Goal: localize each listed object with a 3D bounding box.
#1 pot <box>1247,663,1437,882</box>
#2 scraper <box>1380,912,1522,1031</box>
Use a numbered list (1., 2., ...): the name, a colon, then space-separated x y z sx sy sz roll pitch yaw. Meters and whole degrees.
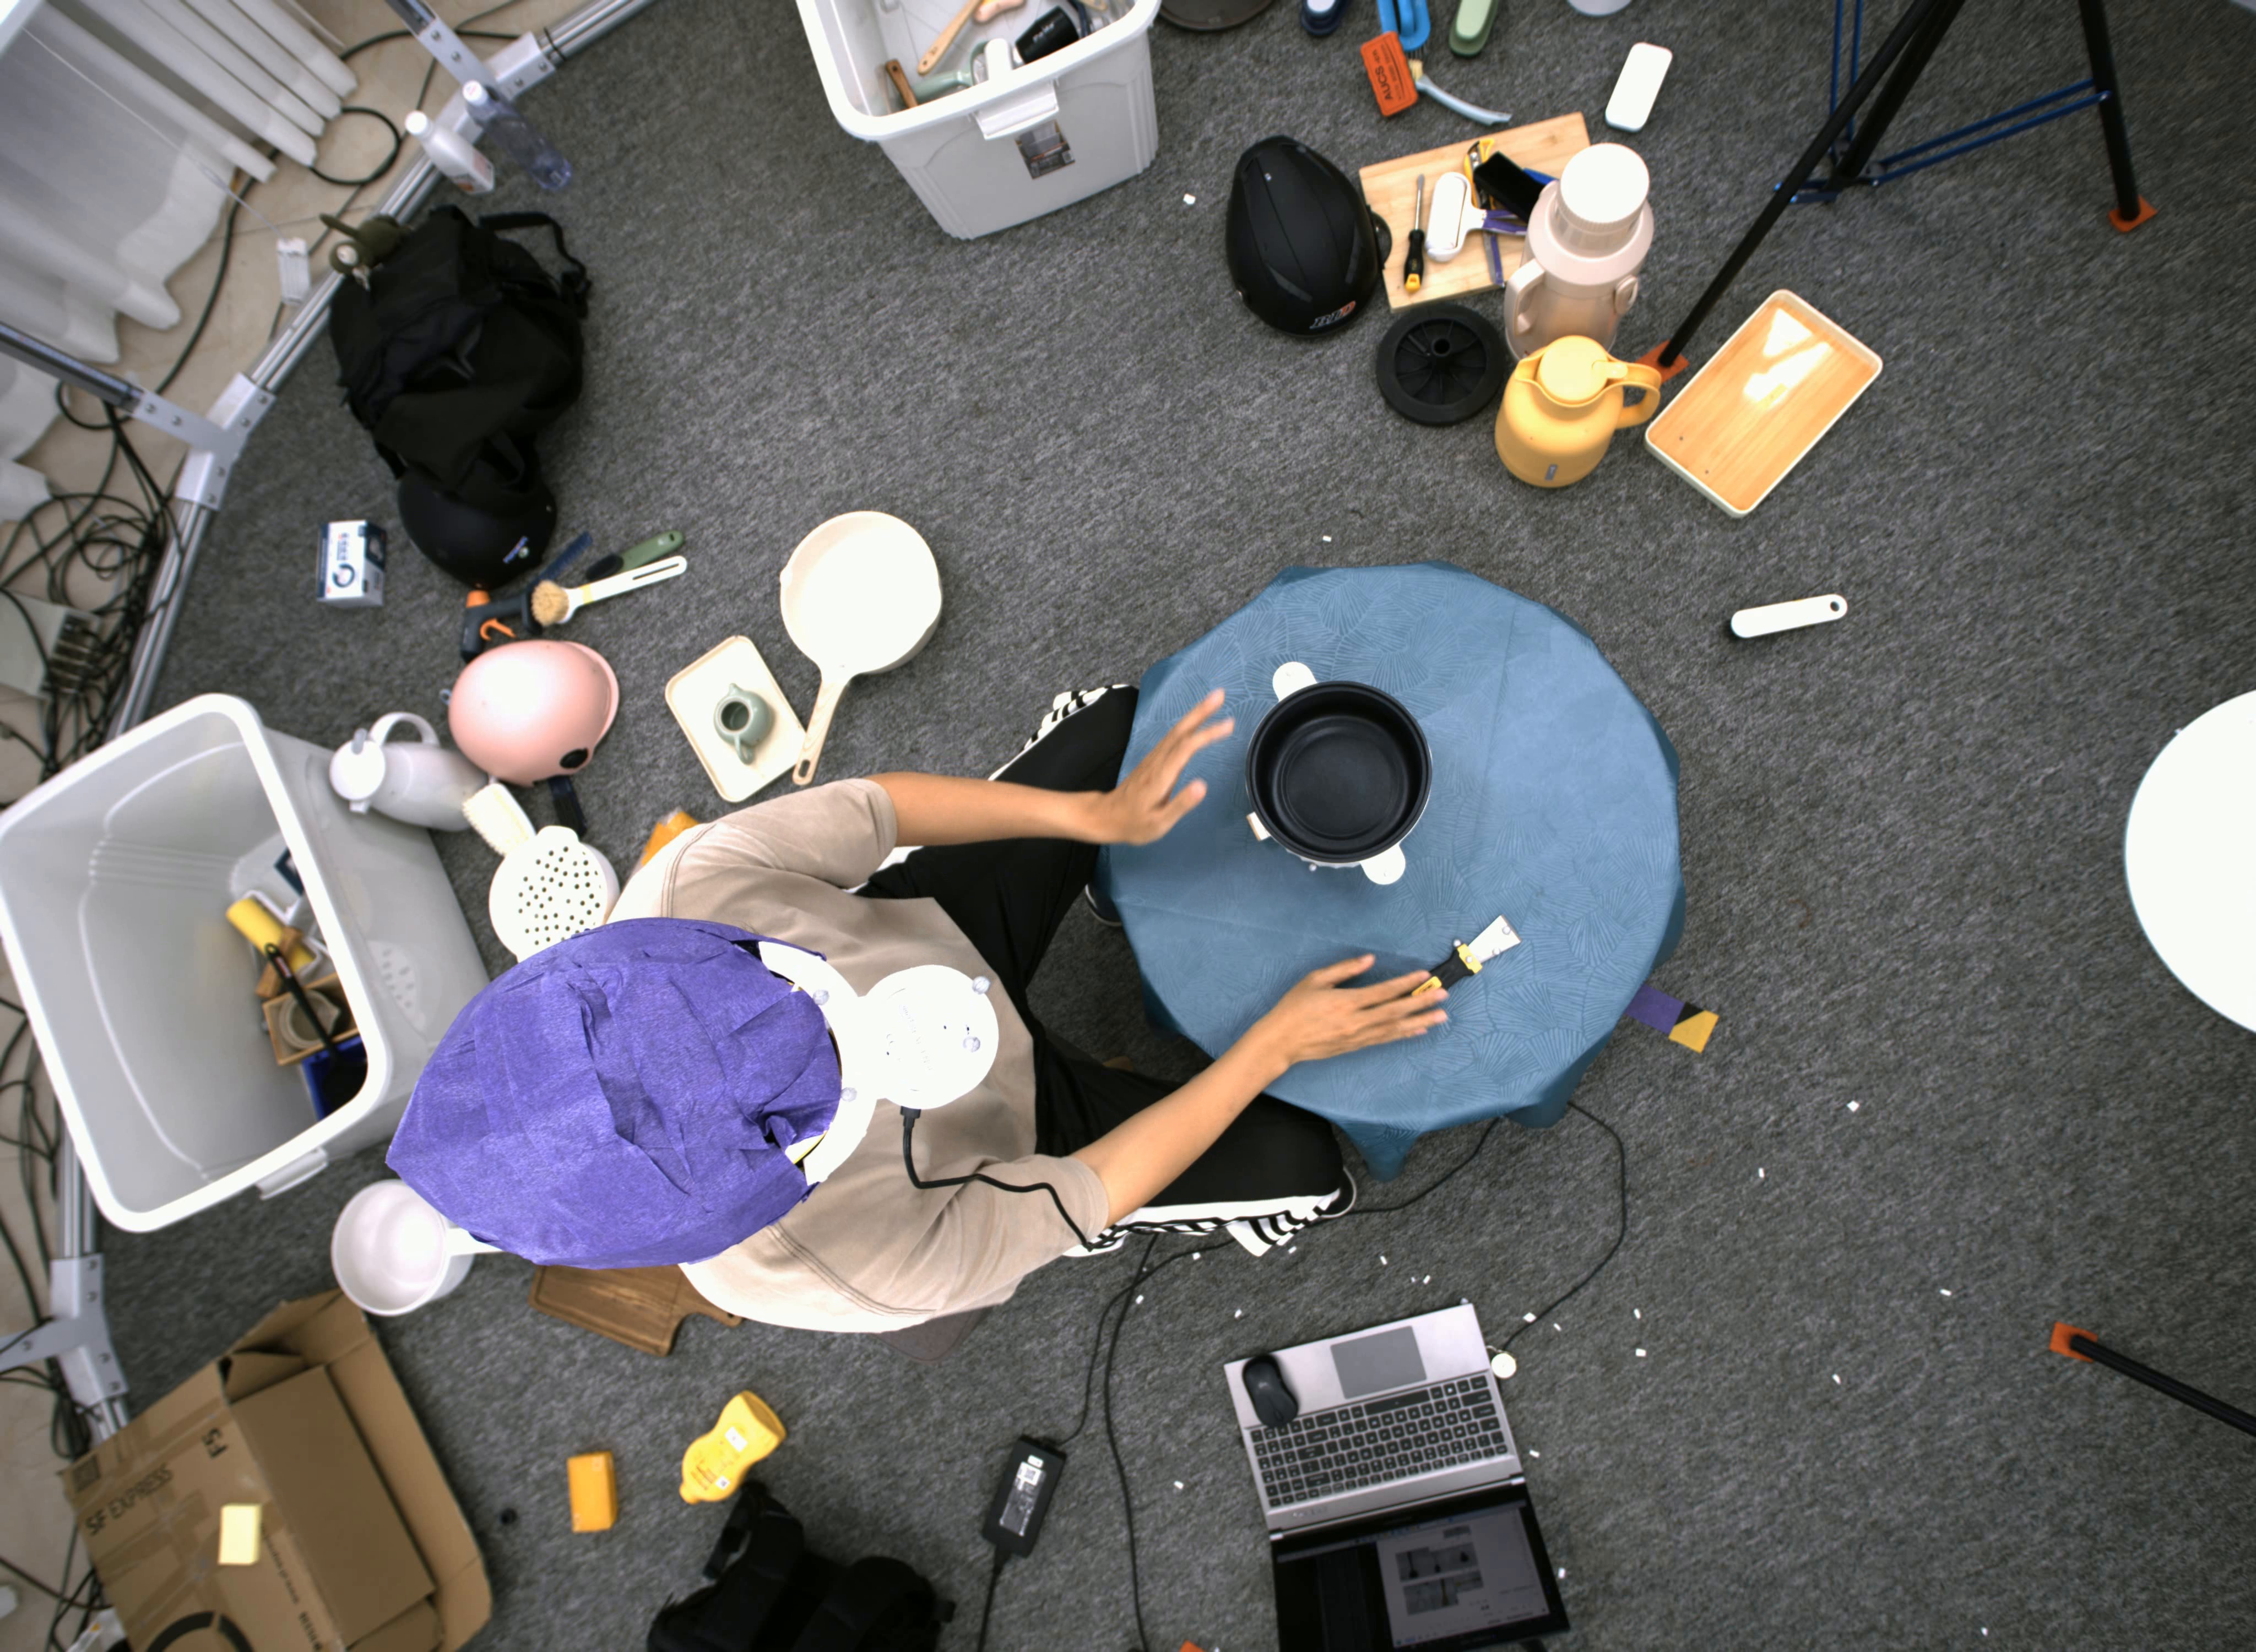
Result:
1. pot: 0.212 -0.043 1.409 0.191 0.143 0.238 -27 80 3
2. scraper: 0.334 0.154 1.436 0.171 0.015 0.039 -38 85 4
